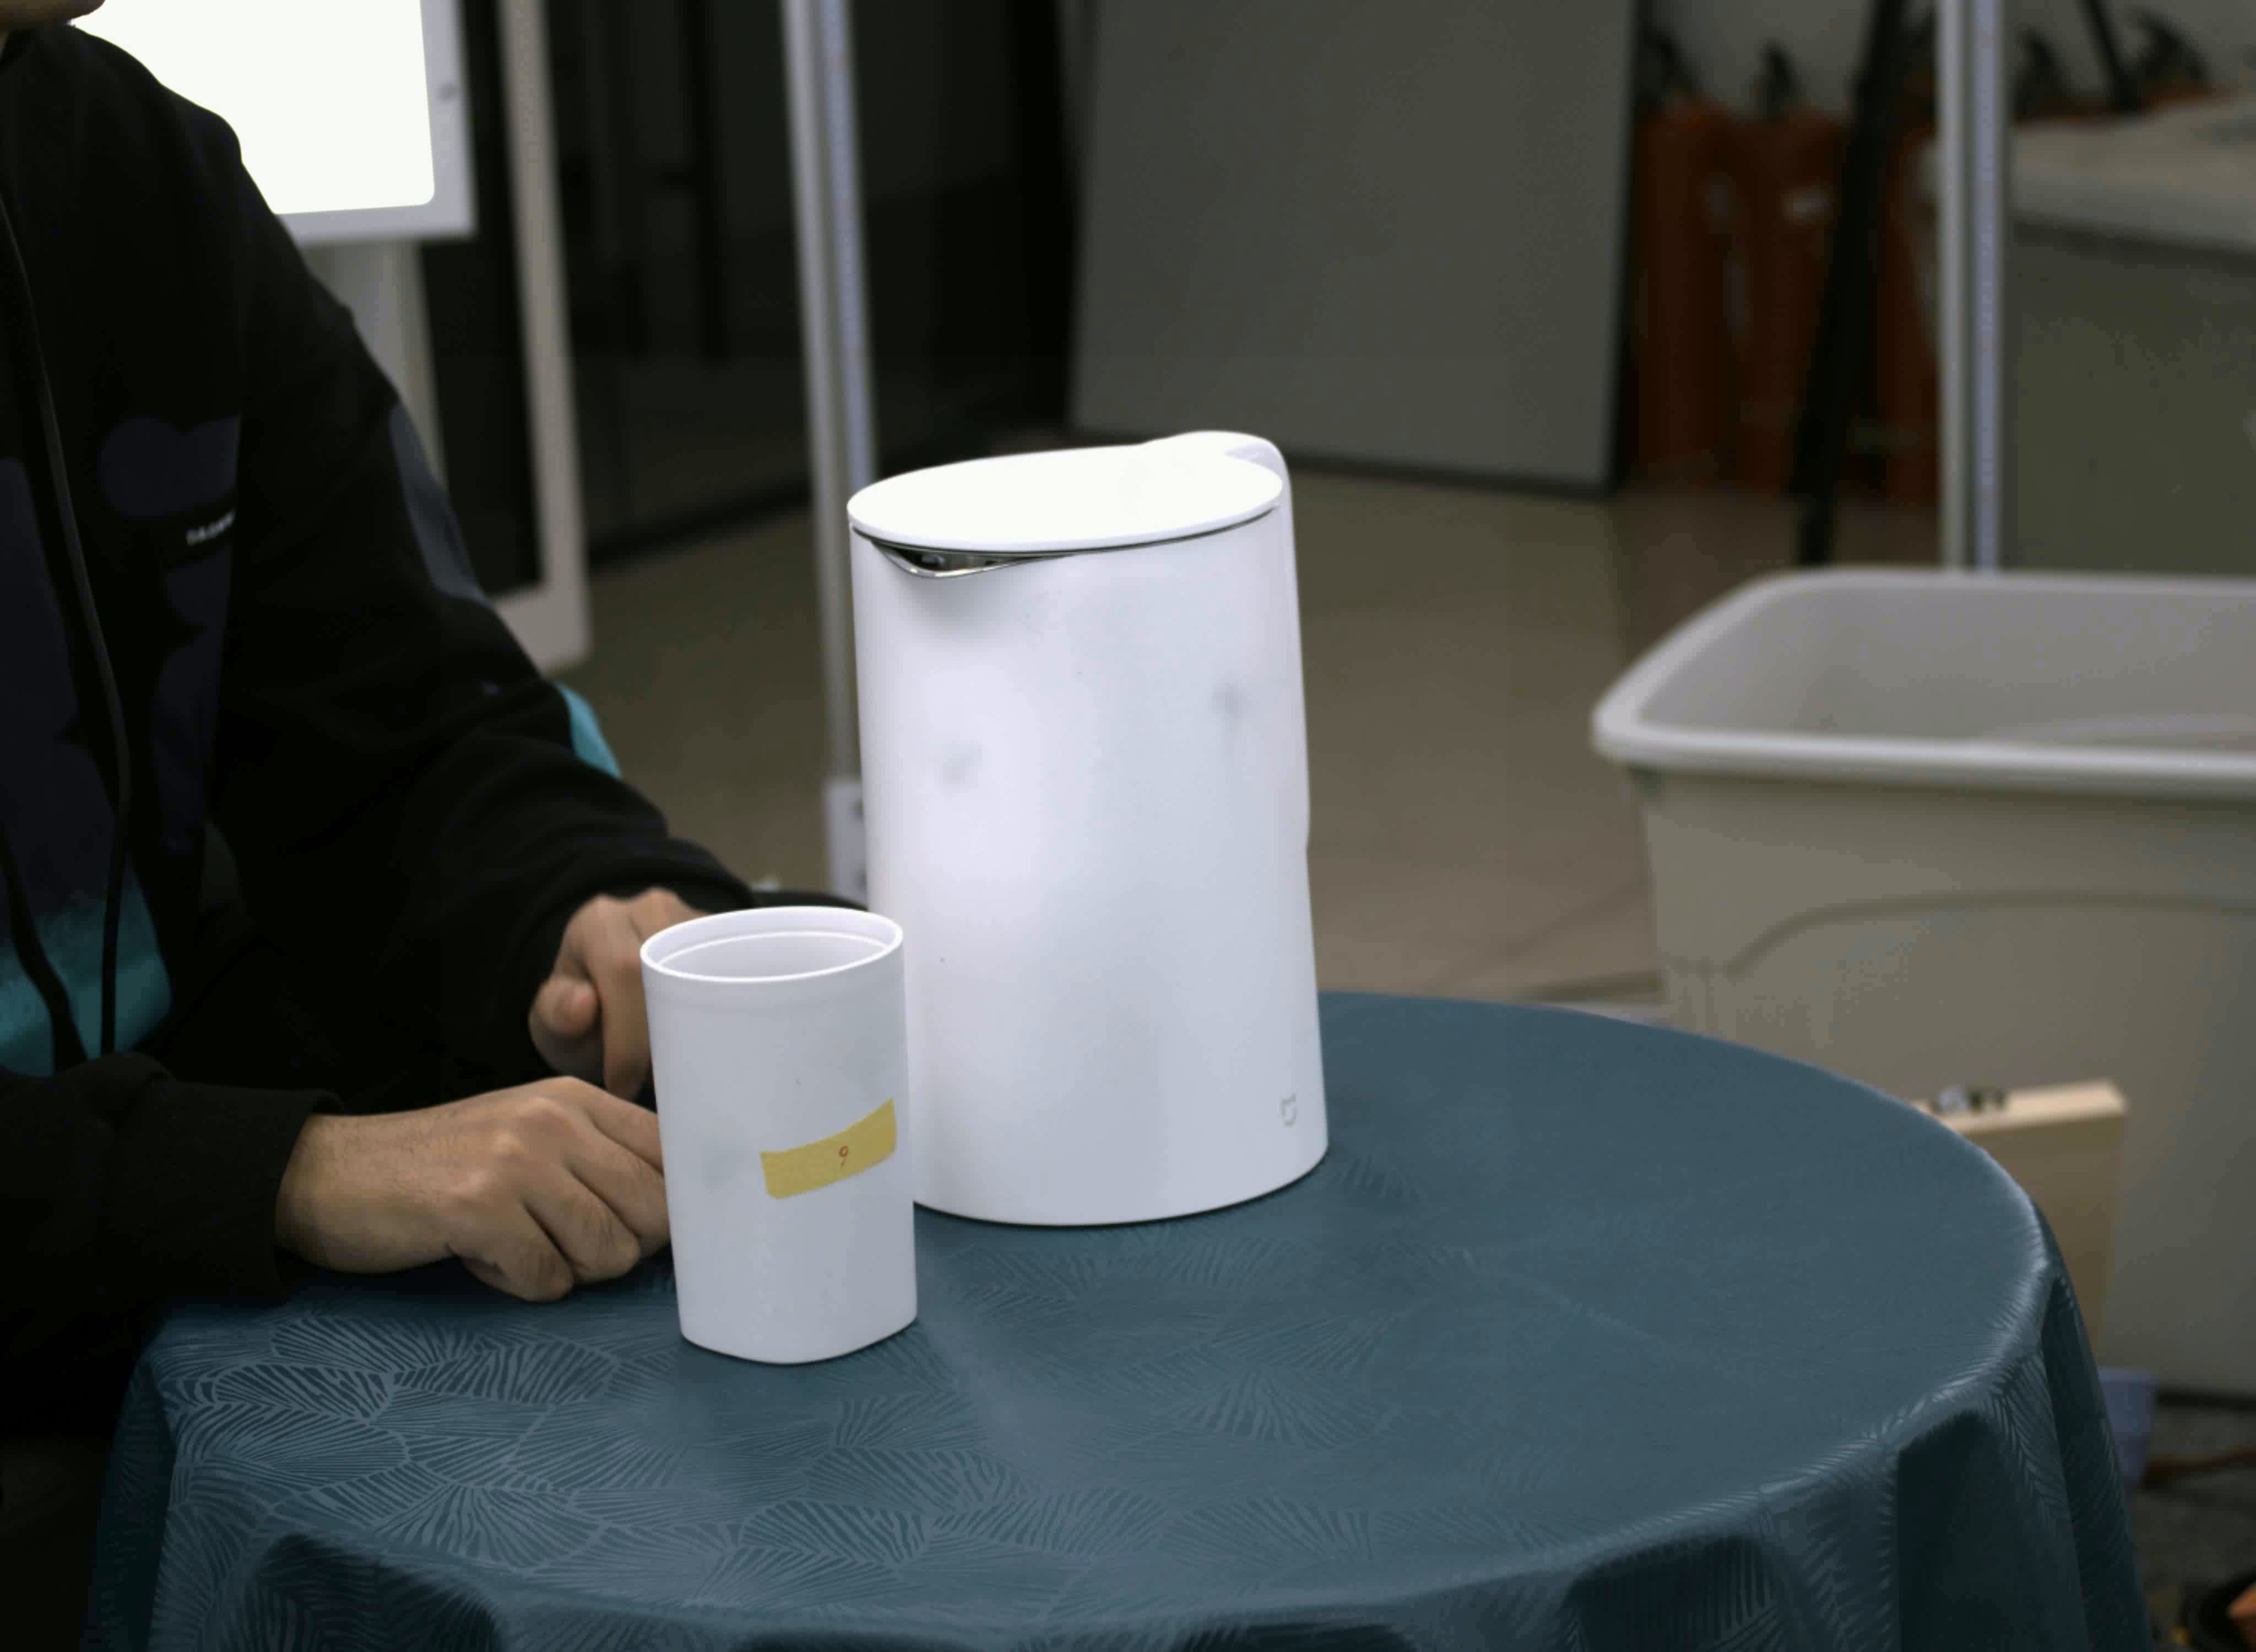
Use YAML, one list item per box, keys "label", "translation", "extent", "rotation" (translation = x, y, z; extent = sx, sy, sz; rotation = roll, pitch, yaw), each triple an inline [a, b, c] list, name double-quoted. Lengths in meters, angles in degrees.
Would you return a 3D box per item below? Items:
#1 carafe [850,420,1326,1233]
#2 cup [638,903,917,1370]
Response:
- label: "carafe"
  translation: [0.000, -0.006, 1.800]
  extent: [0.153, 0.243, 0.210]
  rotation: [6, 17, 31]
- label: "cup"
  translation: [-0.104, 0.095, 1.647]
  extent: [0.080, 0.127, 0.082]
  rotation: [-4, 13, 0]
